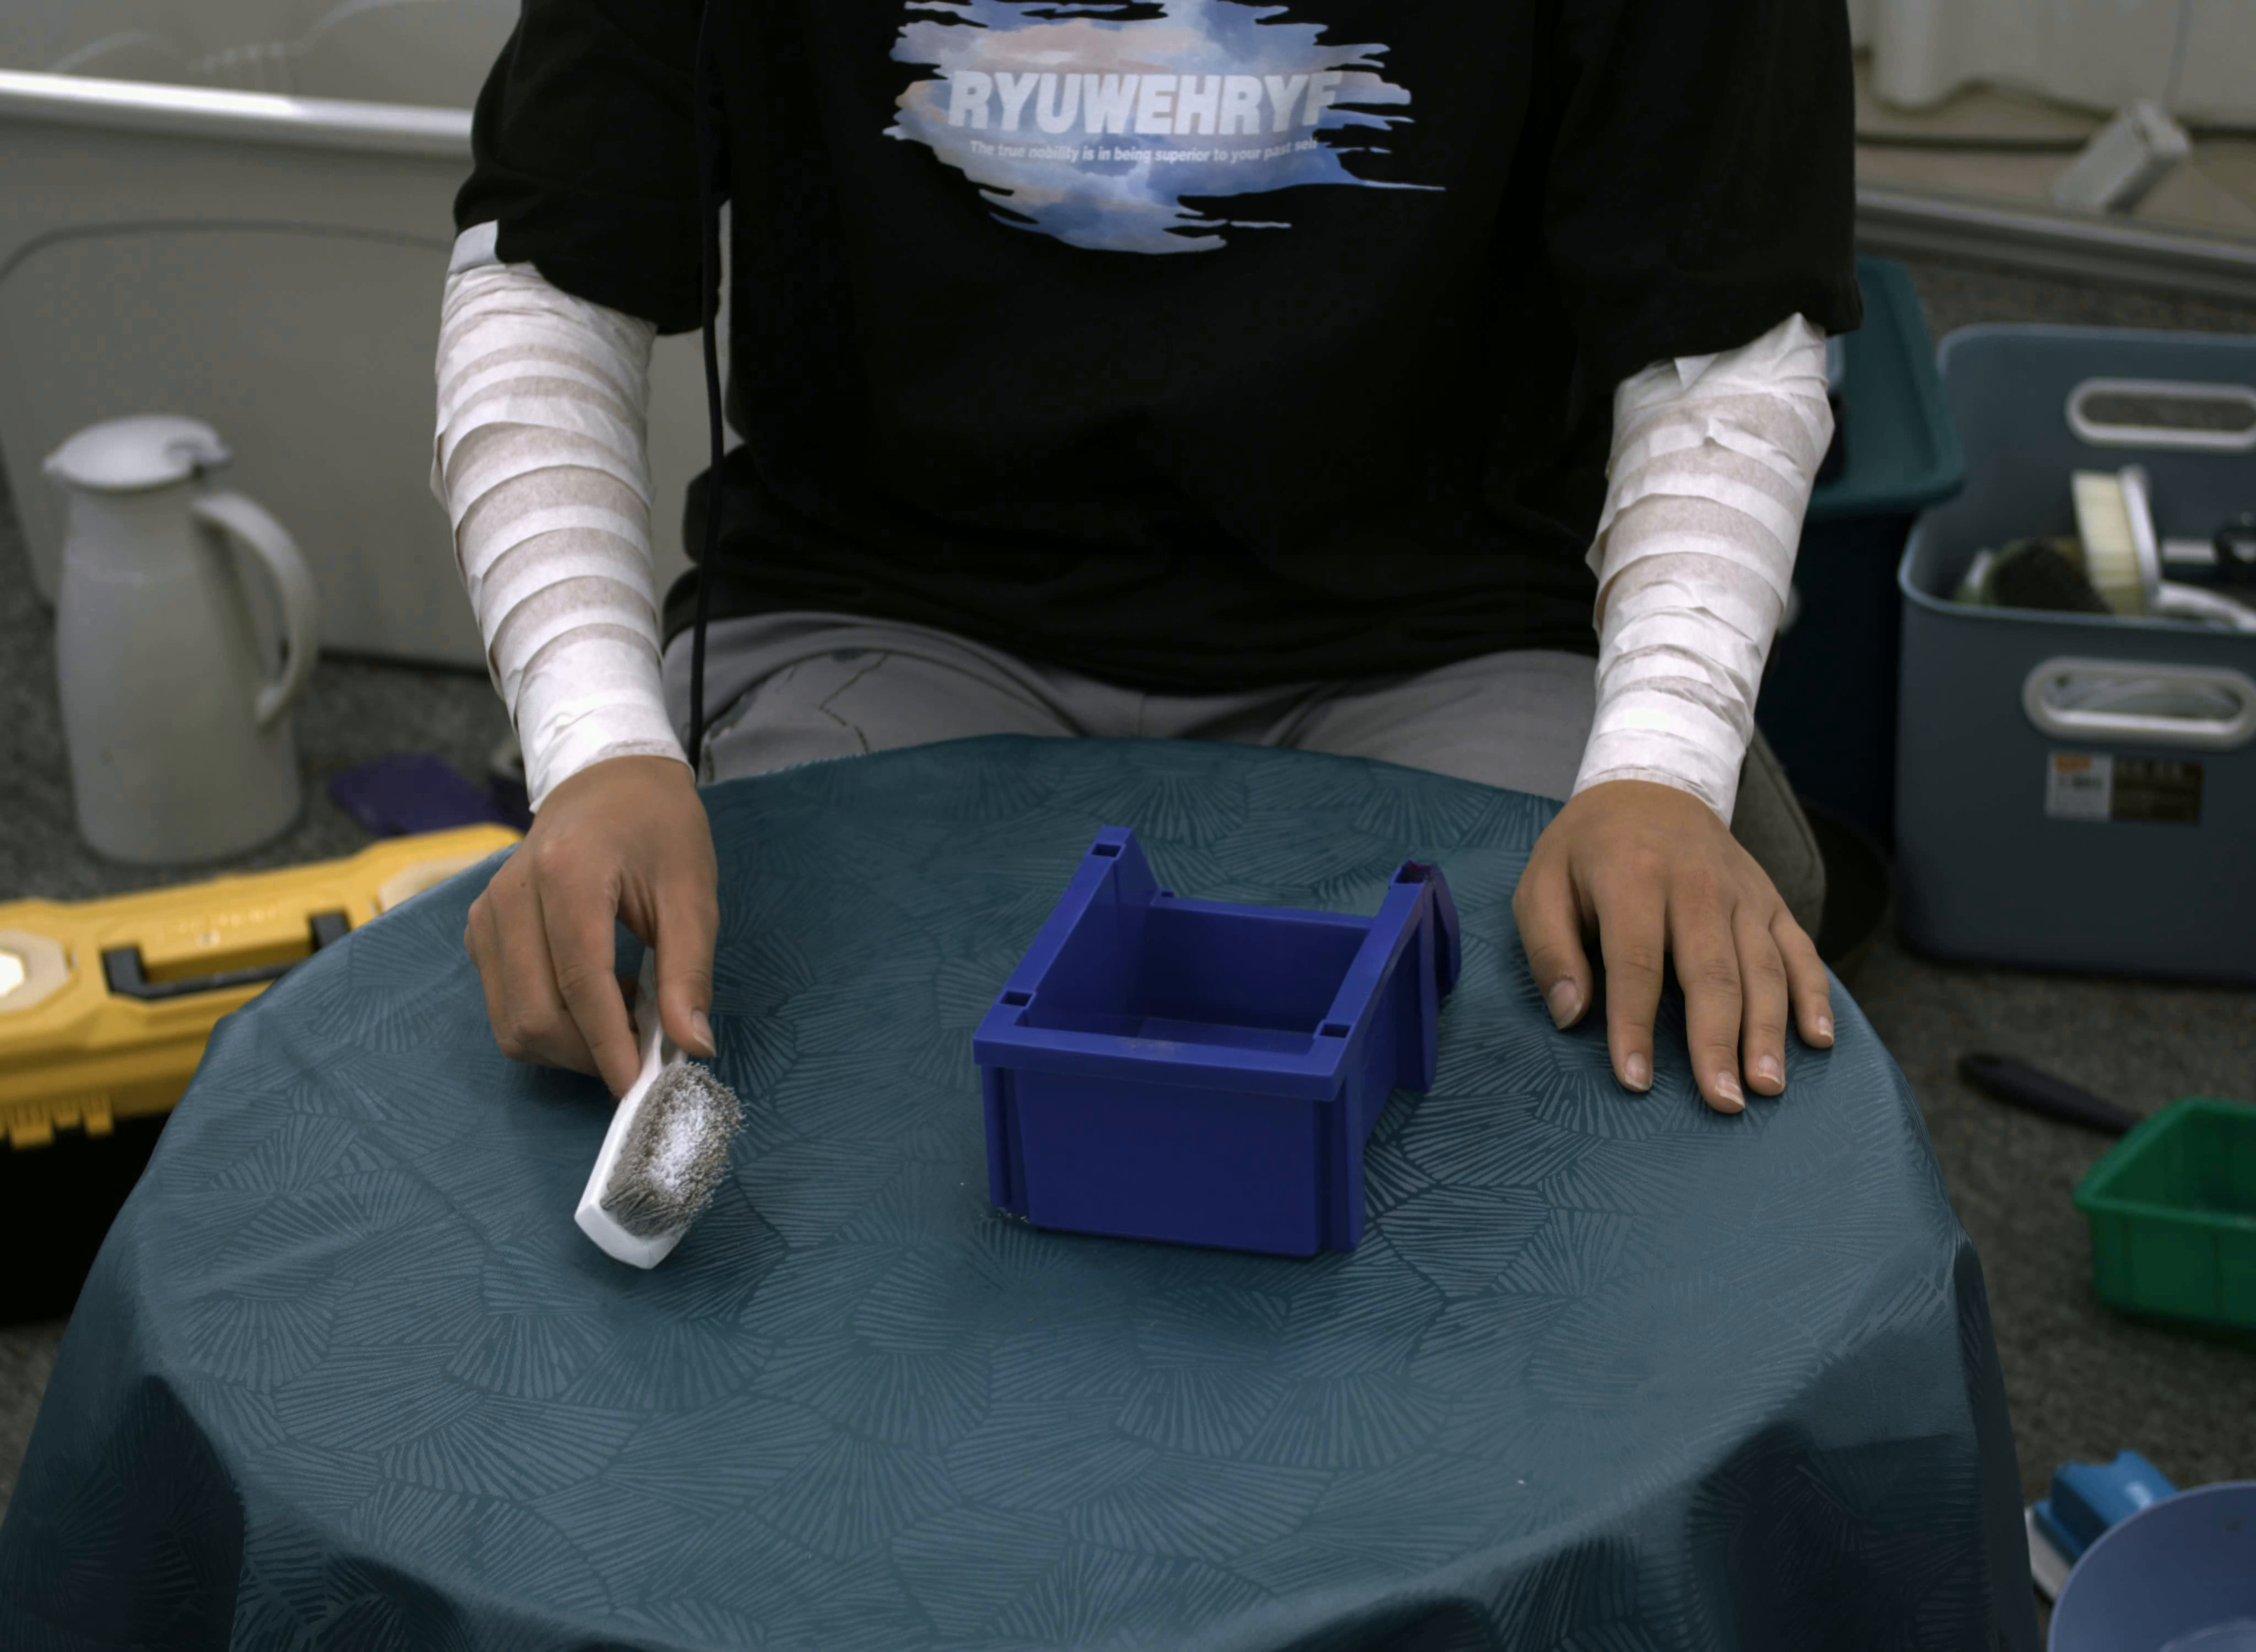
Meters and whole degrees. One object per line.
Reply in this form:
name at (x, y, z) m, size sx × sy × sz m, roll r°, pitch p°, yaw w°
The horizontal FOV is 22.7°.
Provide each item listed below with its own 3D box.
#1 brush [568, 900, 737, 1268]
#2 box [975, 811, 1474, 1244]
brush at (-0.150, 0.073, 1.916) m, size 0.034 × 0.049 × 0.247 m, roll 37°, pitch 23°, yaw -13°
box at (0.034, 0.062, 1.887) m, size 0.123 × 0.081 × 0.182 m, roll 5°, pitch 29°, yaw 17°
